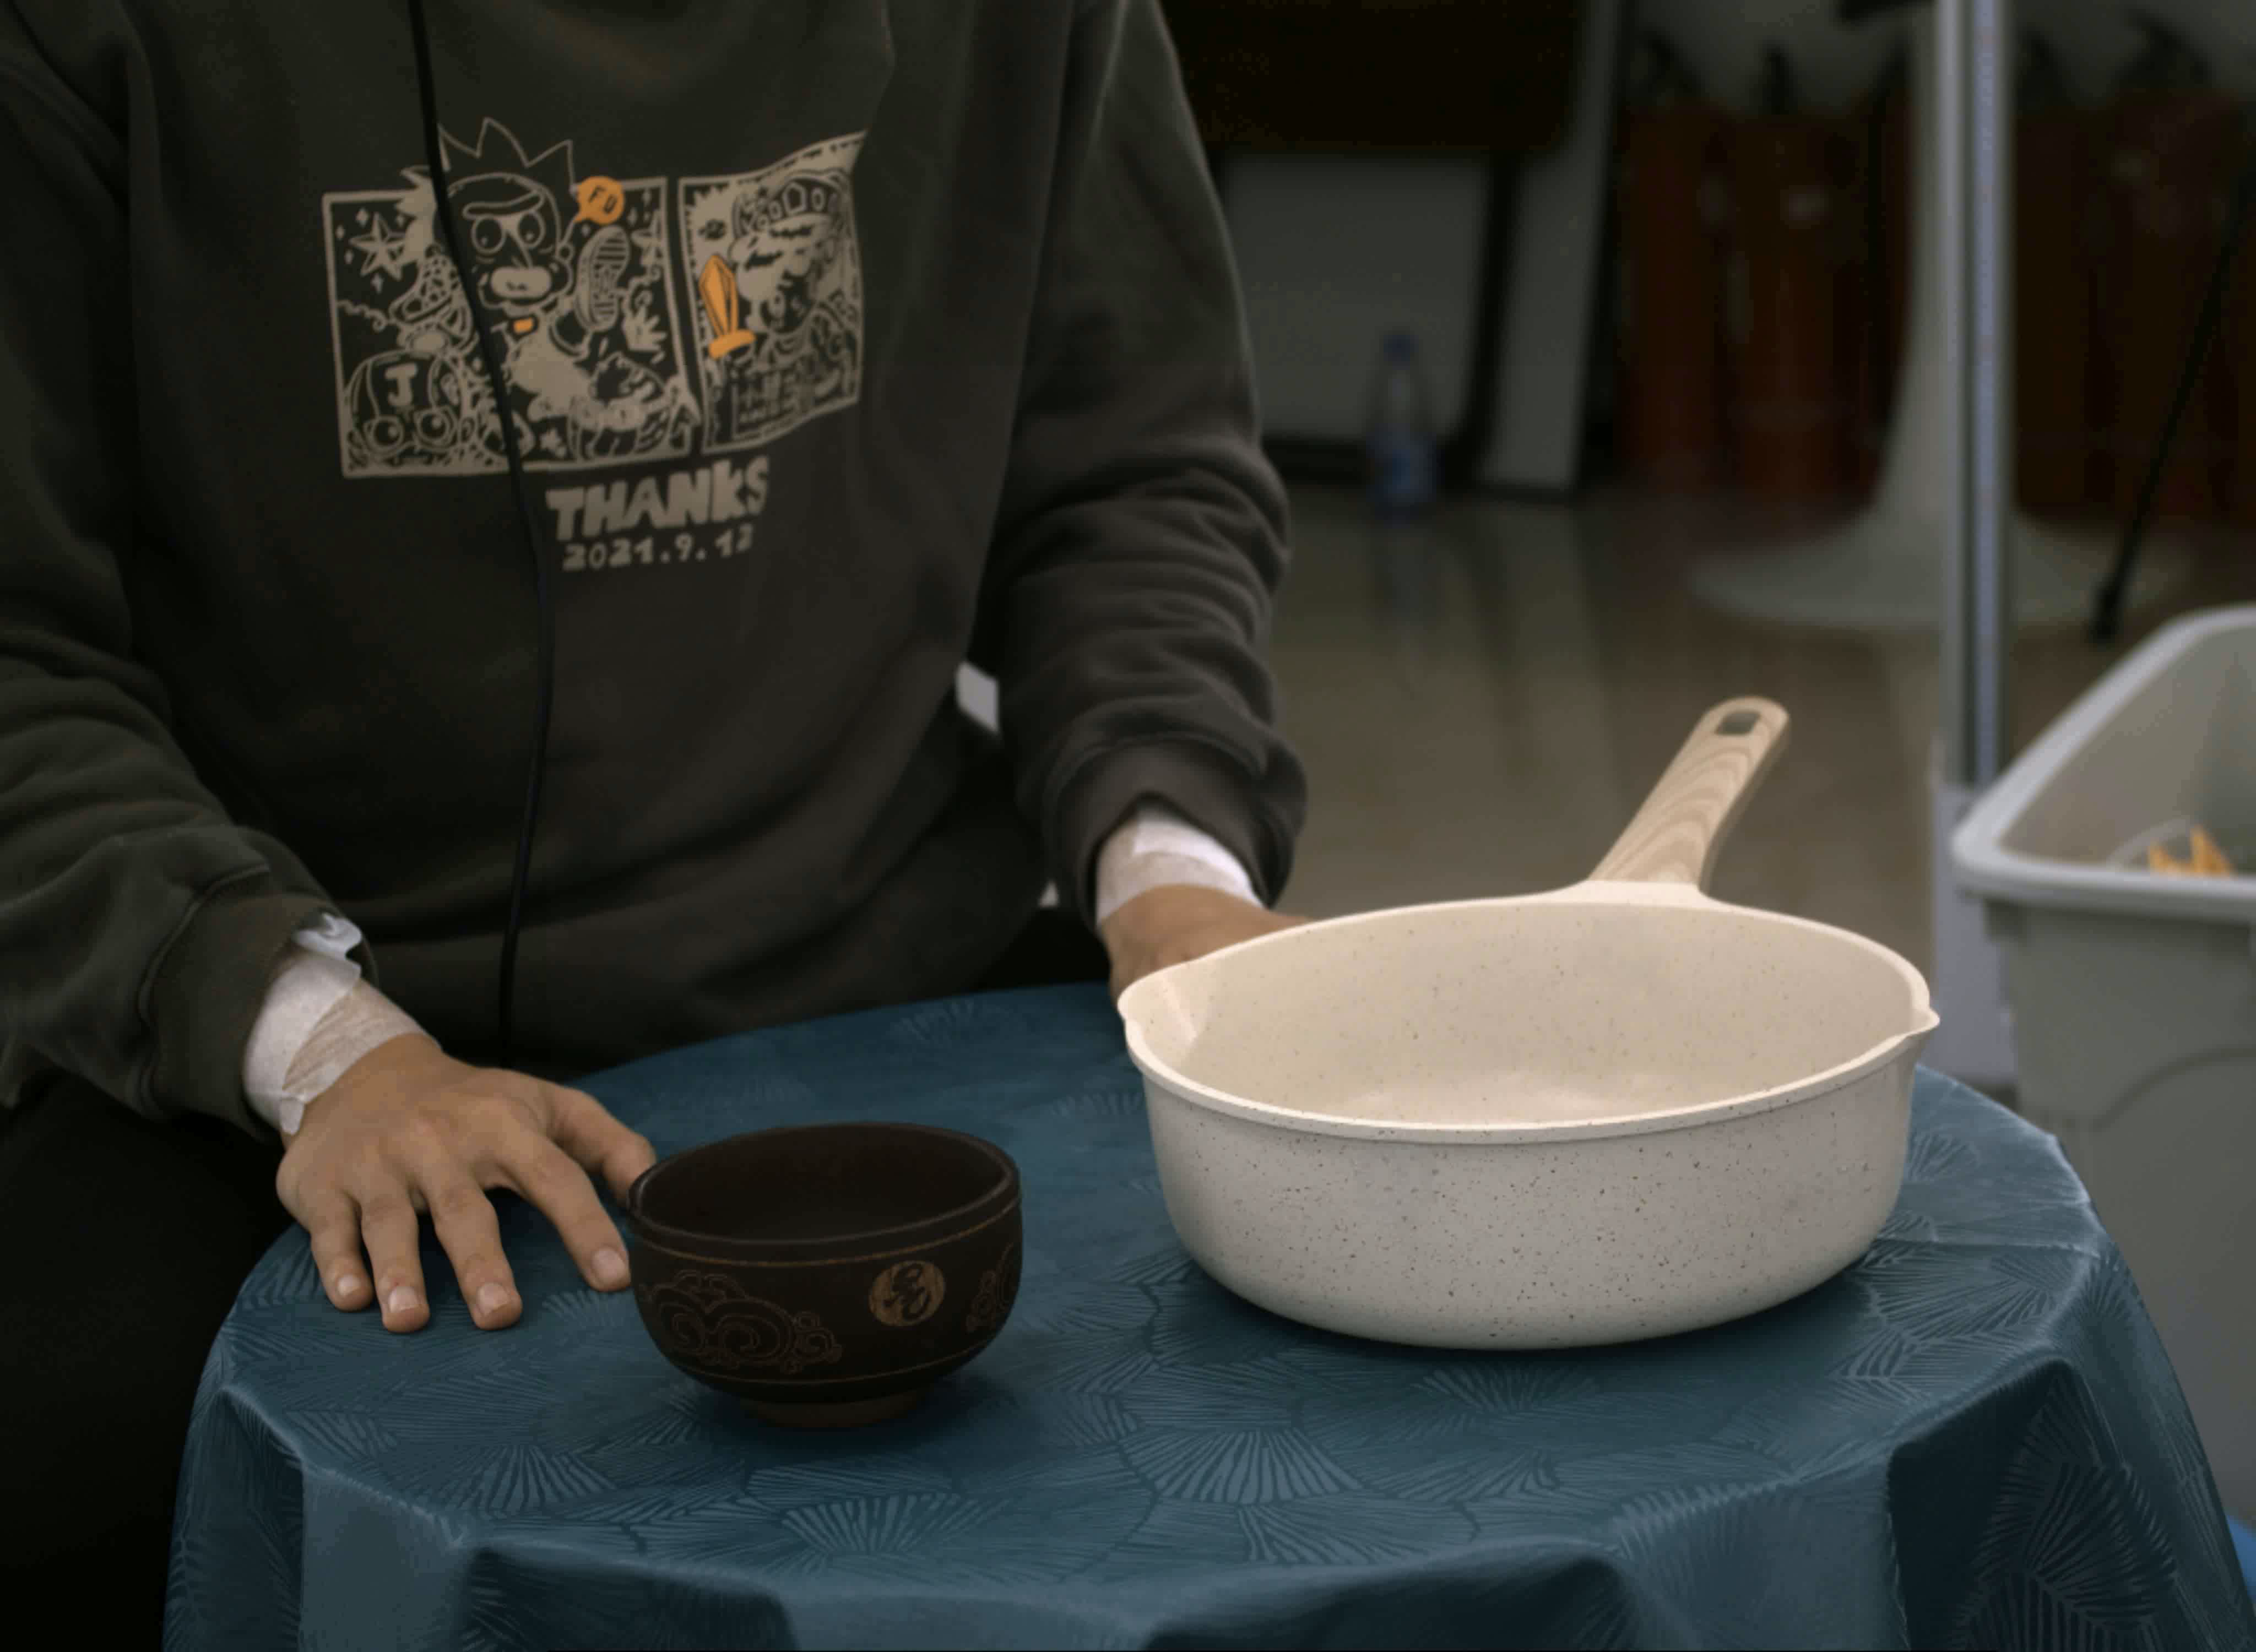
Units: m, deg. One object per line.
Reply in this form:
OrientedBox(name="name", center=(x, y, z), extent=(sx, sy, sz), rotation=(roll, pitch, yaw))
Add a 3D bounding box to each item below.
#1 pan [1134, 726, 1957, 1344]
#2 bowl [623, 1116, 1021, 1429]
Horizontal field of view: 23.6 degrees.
OrientedBox(name="pan", center=(0.160, 0.065, 1.755), extent=(0.263, 0.103, 0.430), rotation=(-1, 13, 21))
OrientedBox(name="bowl", center=(-0.088, 0.135, 1.591), extent=(0.116, 0.070, 0.118), rotation=(-5, 14, 0))
